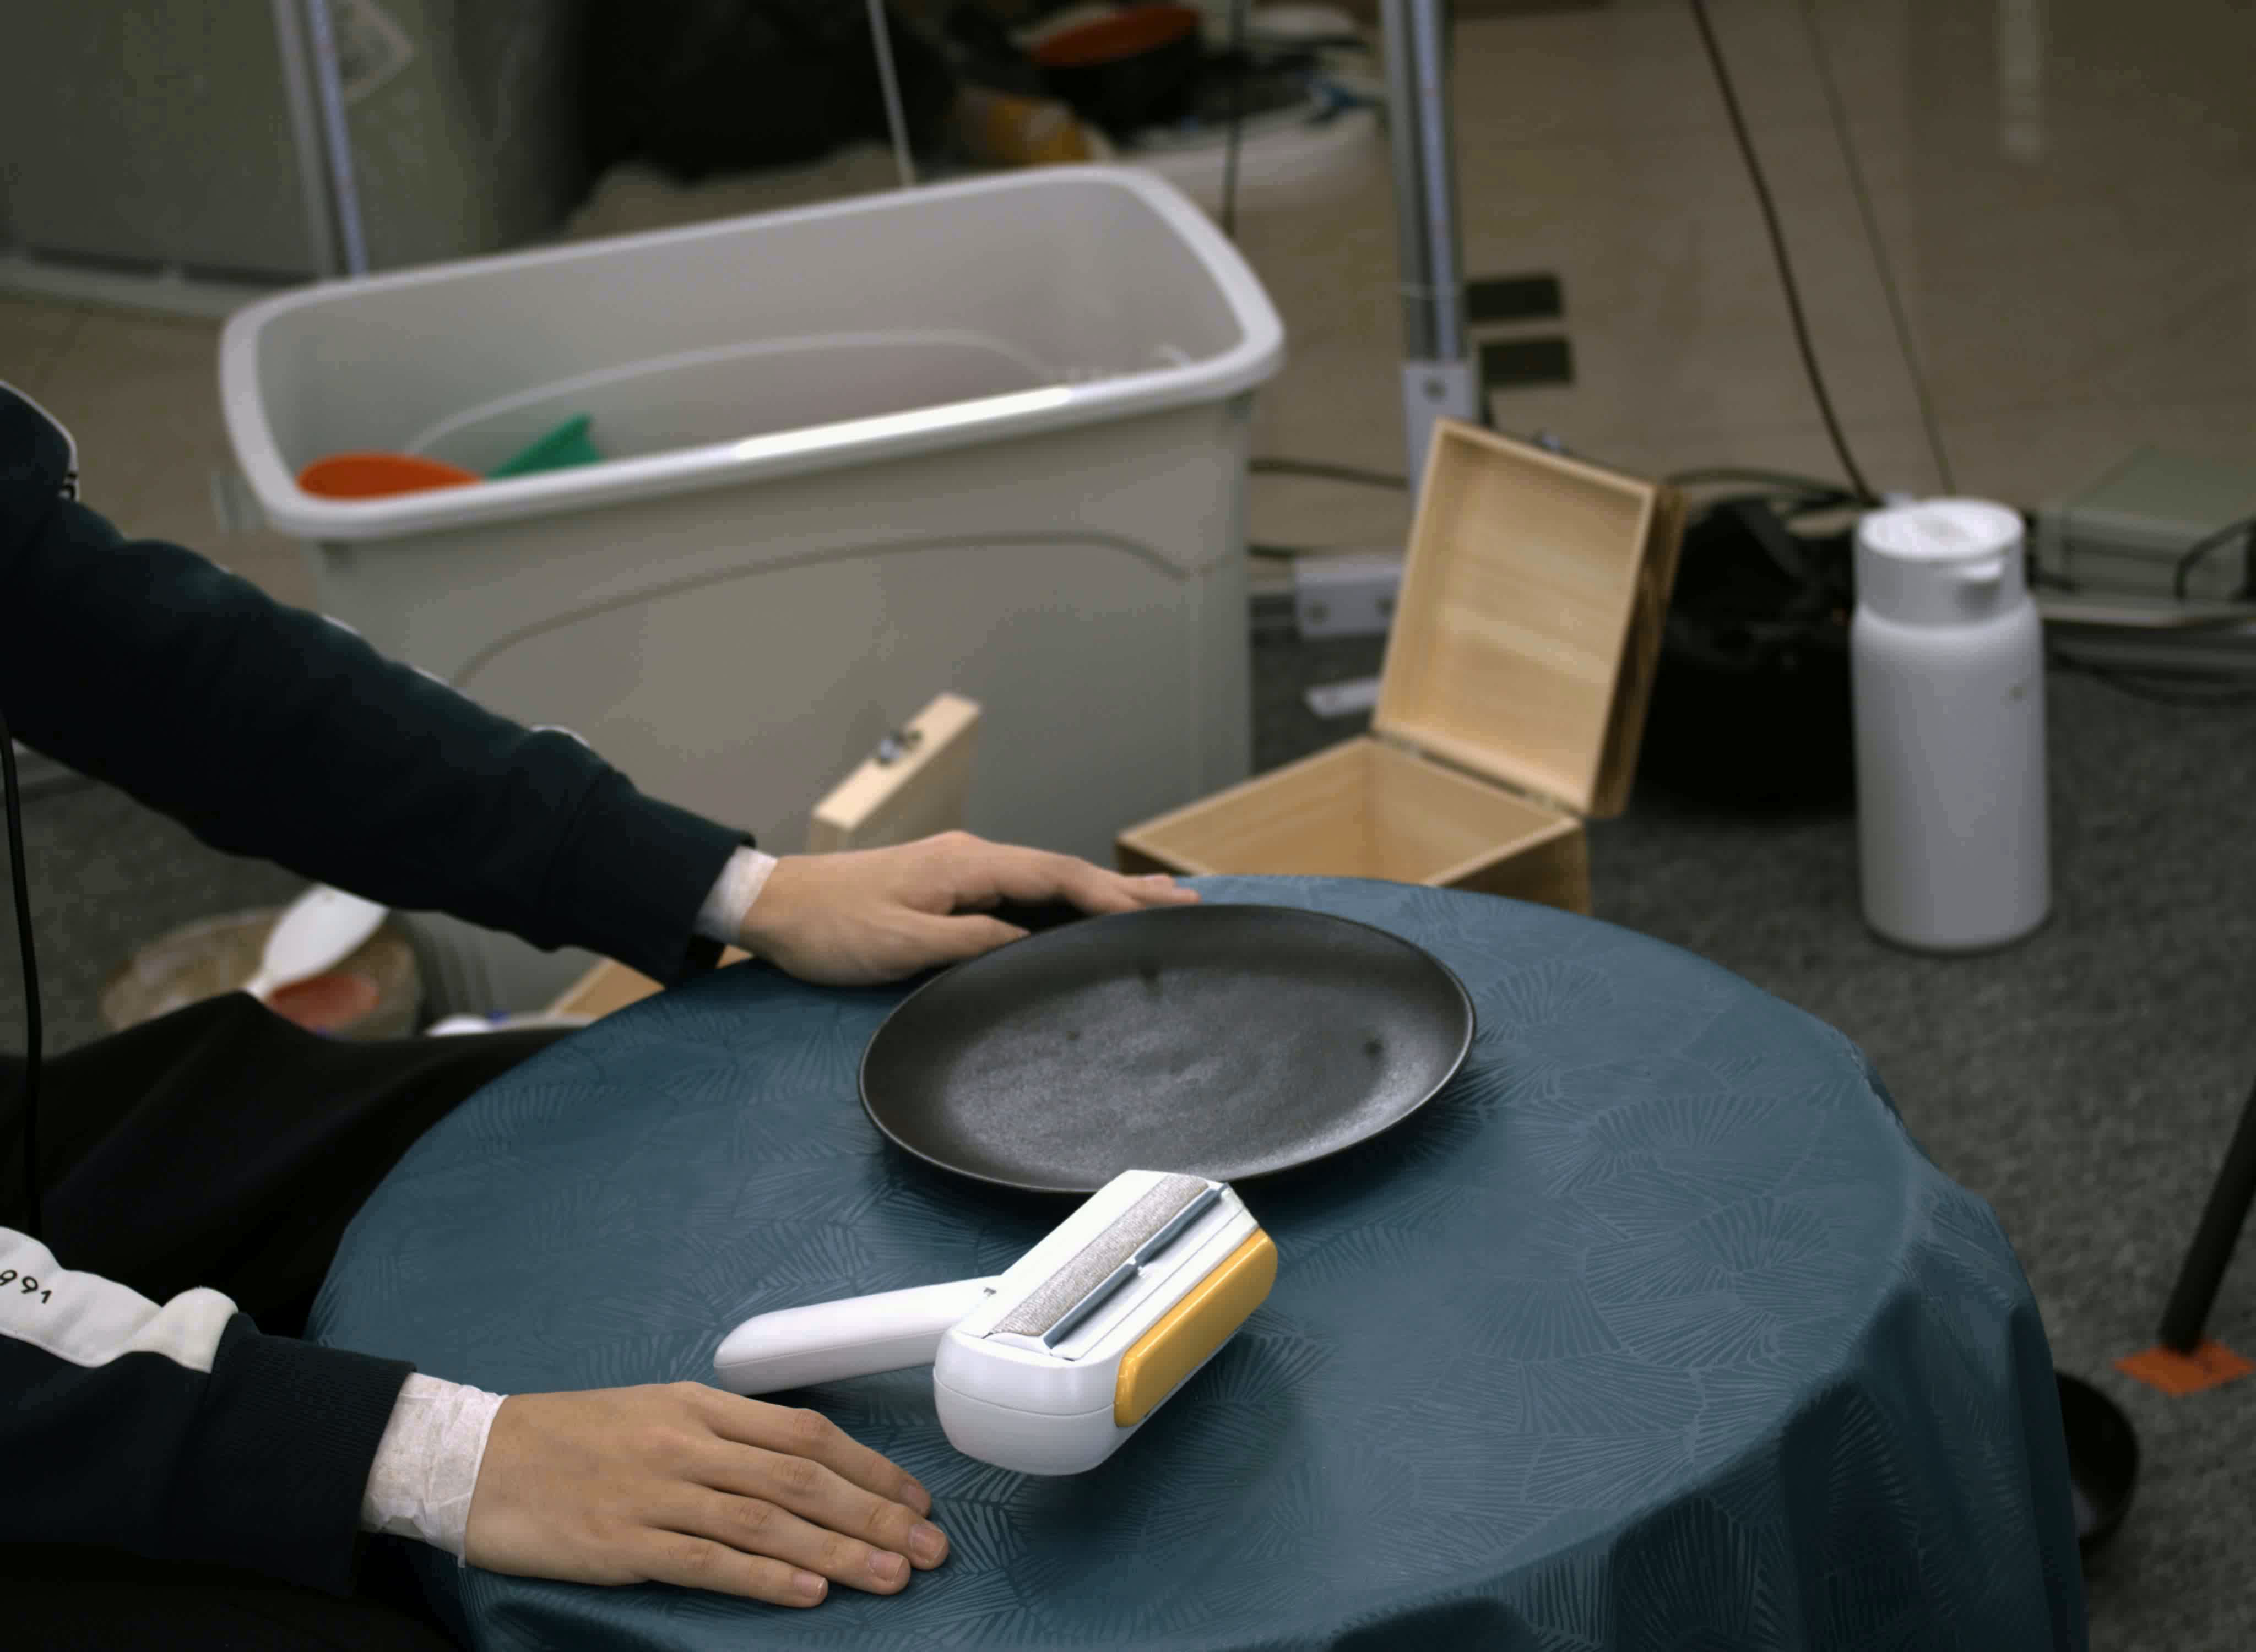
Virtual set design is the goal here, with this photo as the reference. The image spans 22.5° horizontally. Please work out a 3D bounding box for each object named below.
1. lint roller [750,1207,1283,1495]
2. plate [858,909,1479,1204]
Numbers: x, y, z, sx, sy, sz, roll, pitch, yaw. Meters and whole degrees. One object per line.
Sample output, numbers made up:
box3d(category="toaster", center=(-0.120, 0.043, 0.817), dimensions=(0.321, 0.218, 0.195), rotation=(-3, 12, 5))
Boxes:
box3d(category="lint roller", center=(-0.057, 0.194, 2.004), dimensions=(0.192, 0.075, 0.191), rotation=(-9, 14, 31))
box3d(category="plate", center=(0.016, 0.094, 2.209), dimensions=(0.244, 0.024, 0.241), rotation=(-5, 25, 3))
